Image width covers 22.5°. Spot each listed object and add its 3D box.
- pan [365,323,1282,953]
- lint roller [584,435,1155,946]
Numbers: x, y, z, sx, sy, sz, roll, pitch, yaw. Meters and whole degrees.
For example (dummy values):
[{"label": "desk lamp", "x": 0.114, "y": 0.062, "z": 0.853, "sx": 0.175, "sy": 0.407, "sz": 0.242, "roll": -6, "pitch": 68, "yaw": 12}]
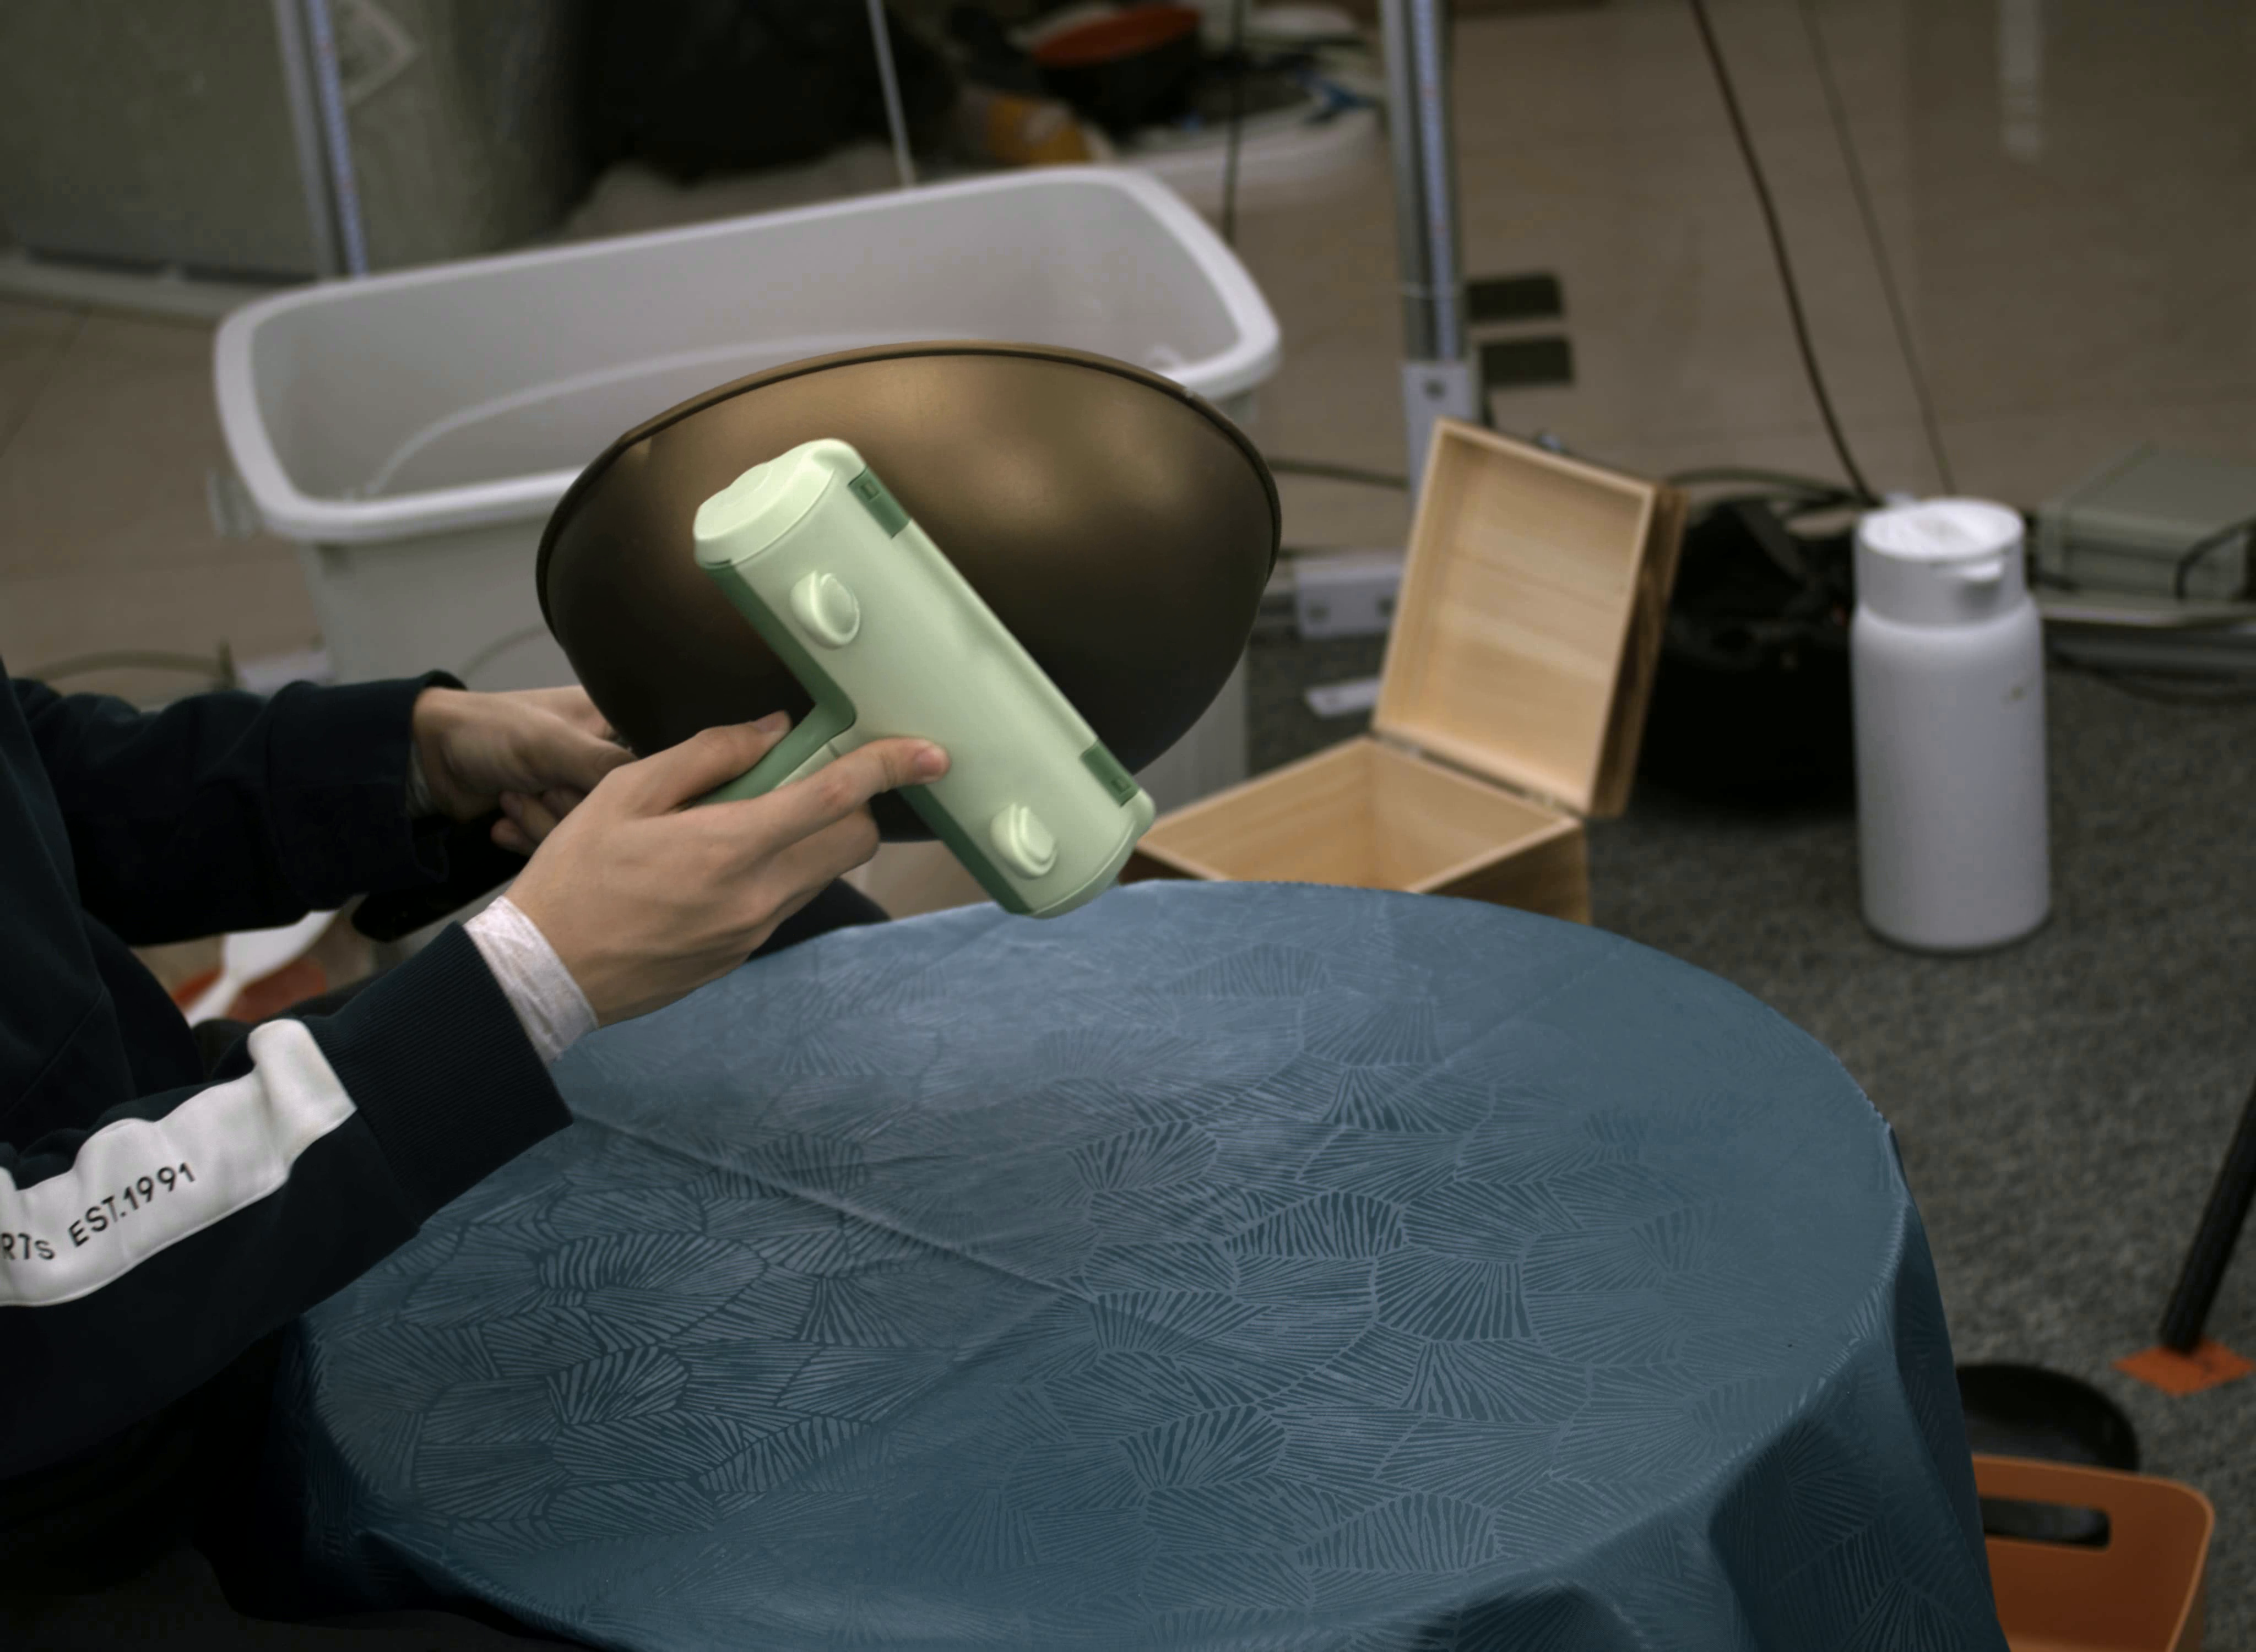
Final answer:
[{"label": "pan", "x": -0.142, "y": -0.031, "z": 2.140, "sx": 0.467, "sy": 0.290, "sz": 0.085, "roll": -31, "pitch": 52, "yaw": 35}, {"label": "lint roller", "x": -0.112, "y": -0.012, "z": 1.979, "sx": 0.183, "sy": 0.201, "sz": 0.081, "roll": -41, "pitch": 27, "yaw": 0}]
